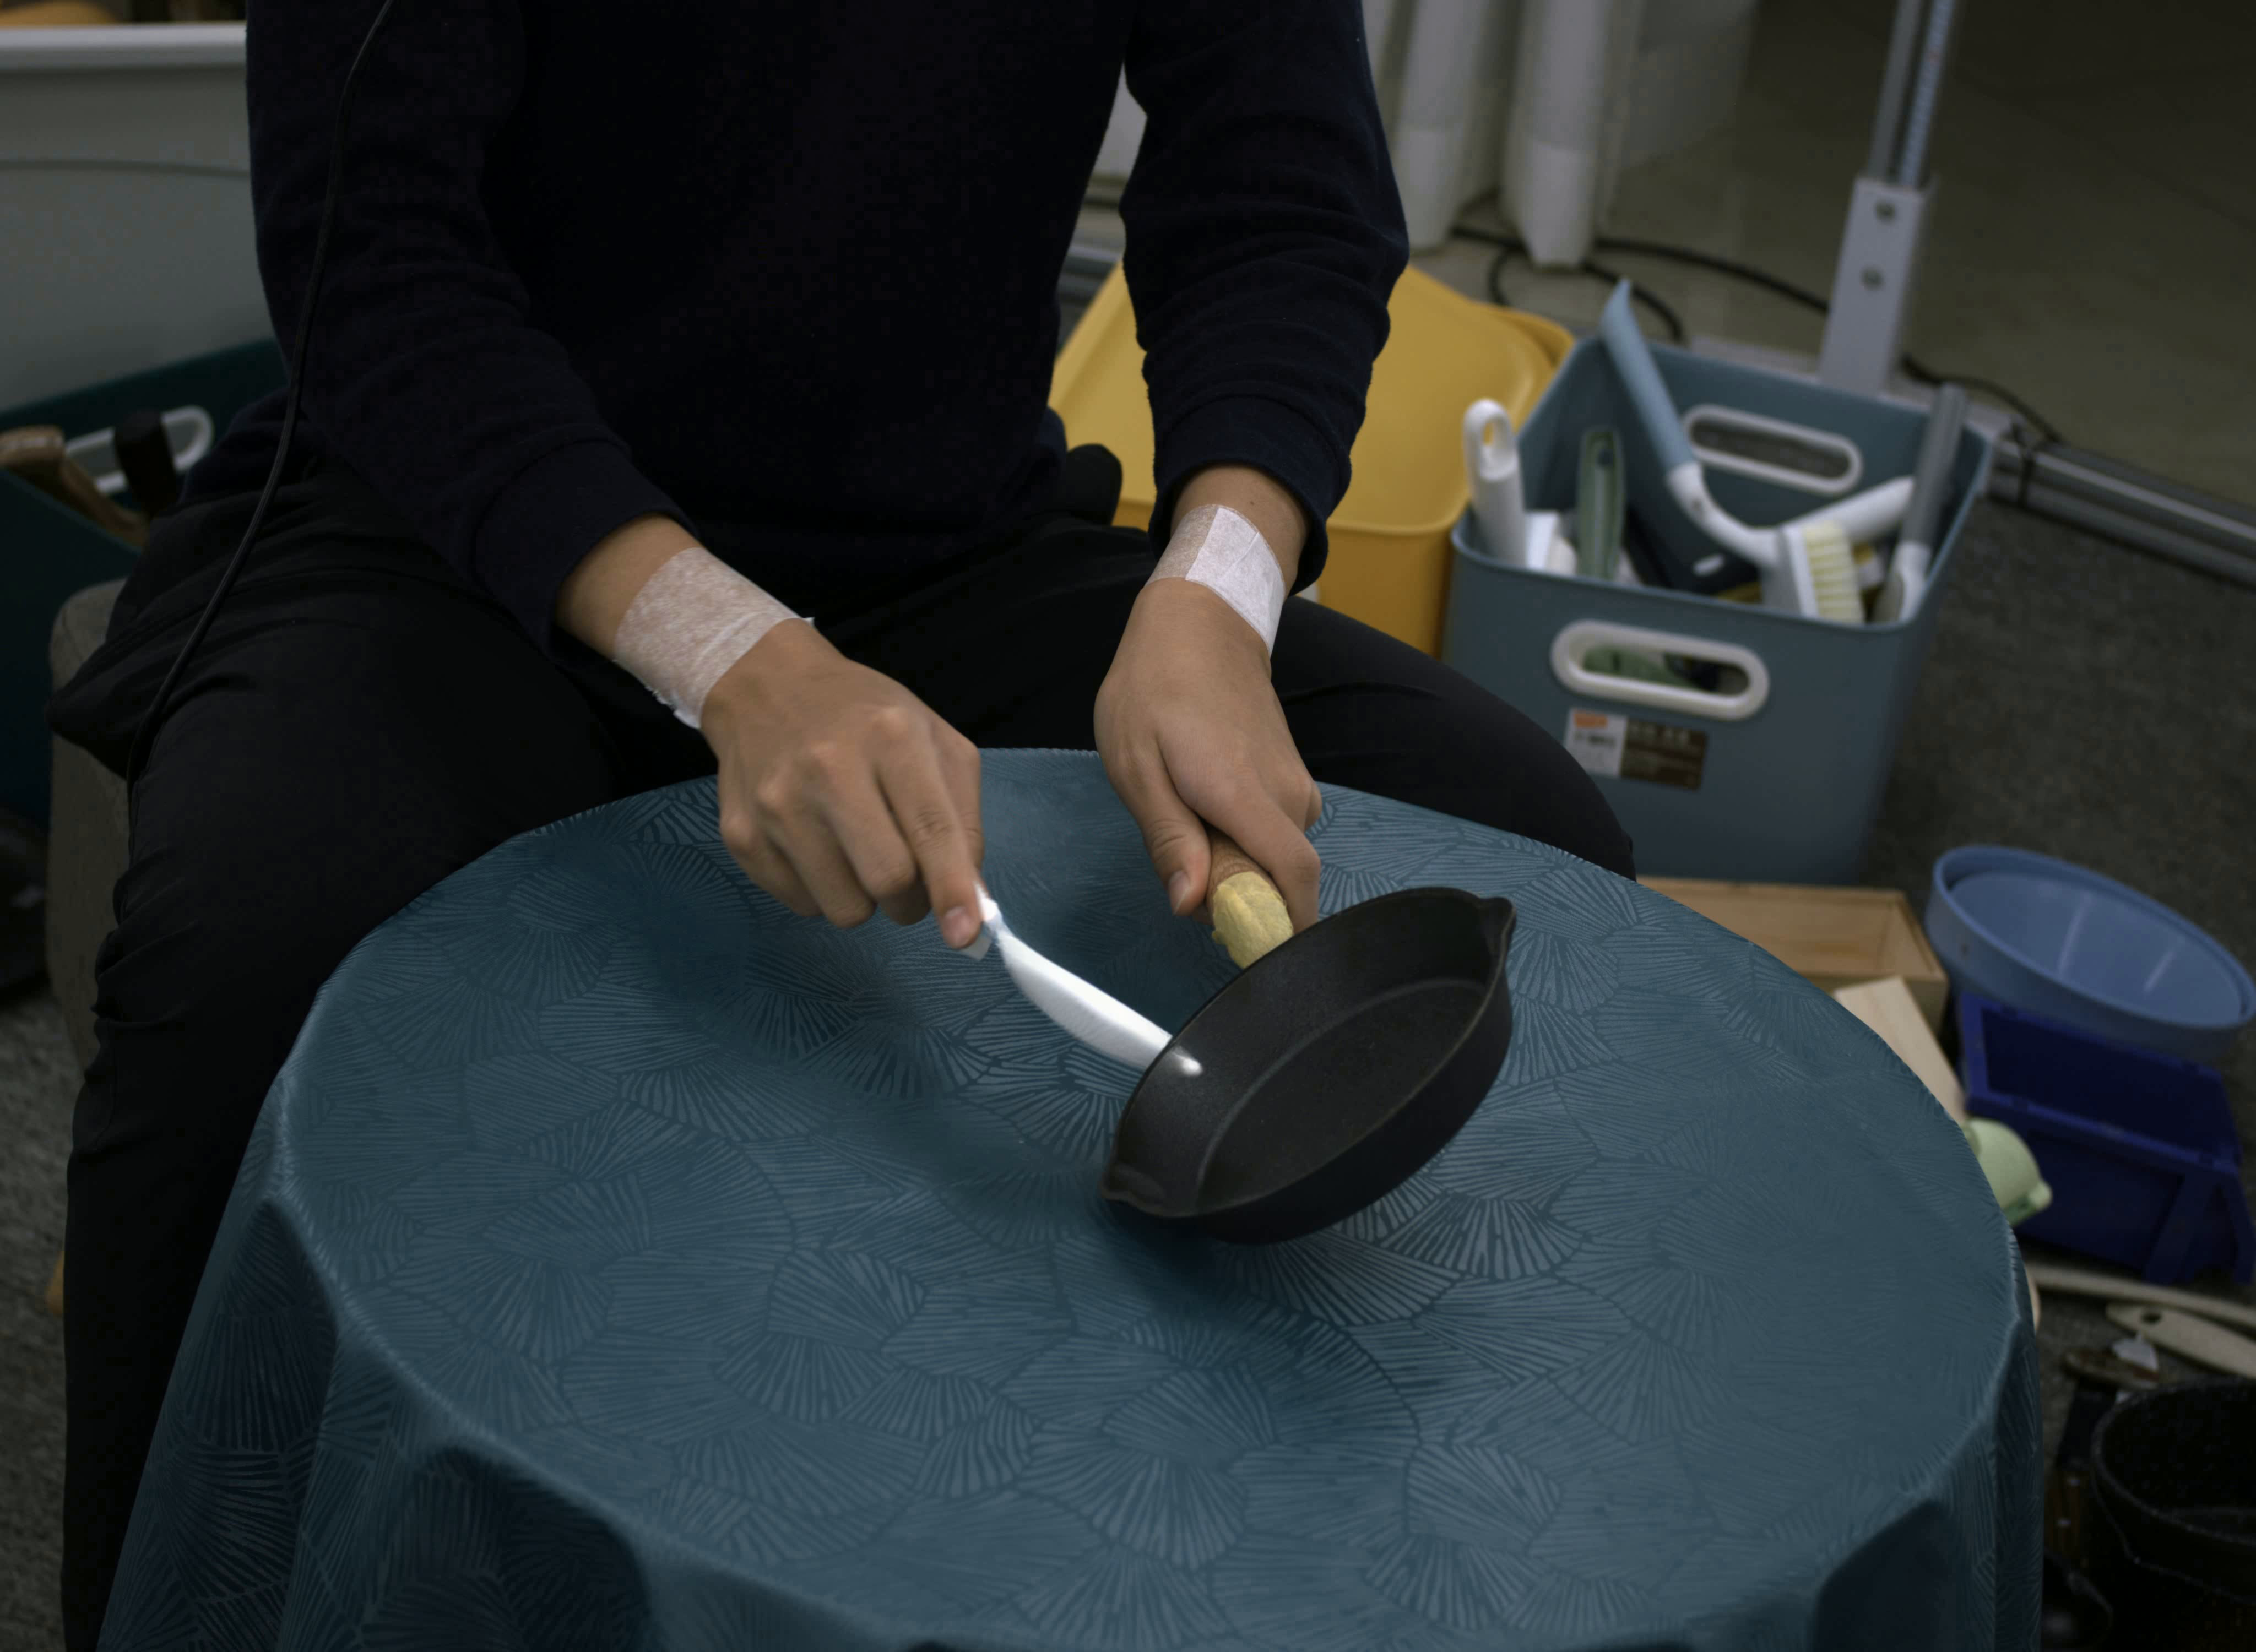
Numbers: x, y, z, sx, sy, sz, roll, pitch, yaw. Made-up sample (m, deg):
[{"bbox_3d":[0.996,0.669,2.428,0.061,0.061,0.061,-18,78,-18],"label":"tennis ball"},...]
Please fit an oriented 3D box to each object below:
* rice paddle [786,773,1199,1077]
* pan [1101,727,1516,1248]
[{"bbox_3d":[-0.046,0.036,1.825,0.068,0.029,0.207,23,8,-47],"label":"rice paddle"},{"bbox_3d":[0.053,0.046,1.854,0.169,0.049,0.326,-35,24,8],"label":"pan"}]
